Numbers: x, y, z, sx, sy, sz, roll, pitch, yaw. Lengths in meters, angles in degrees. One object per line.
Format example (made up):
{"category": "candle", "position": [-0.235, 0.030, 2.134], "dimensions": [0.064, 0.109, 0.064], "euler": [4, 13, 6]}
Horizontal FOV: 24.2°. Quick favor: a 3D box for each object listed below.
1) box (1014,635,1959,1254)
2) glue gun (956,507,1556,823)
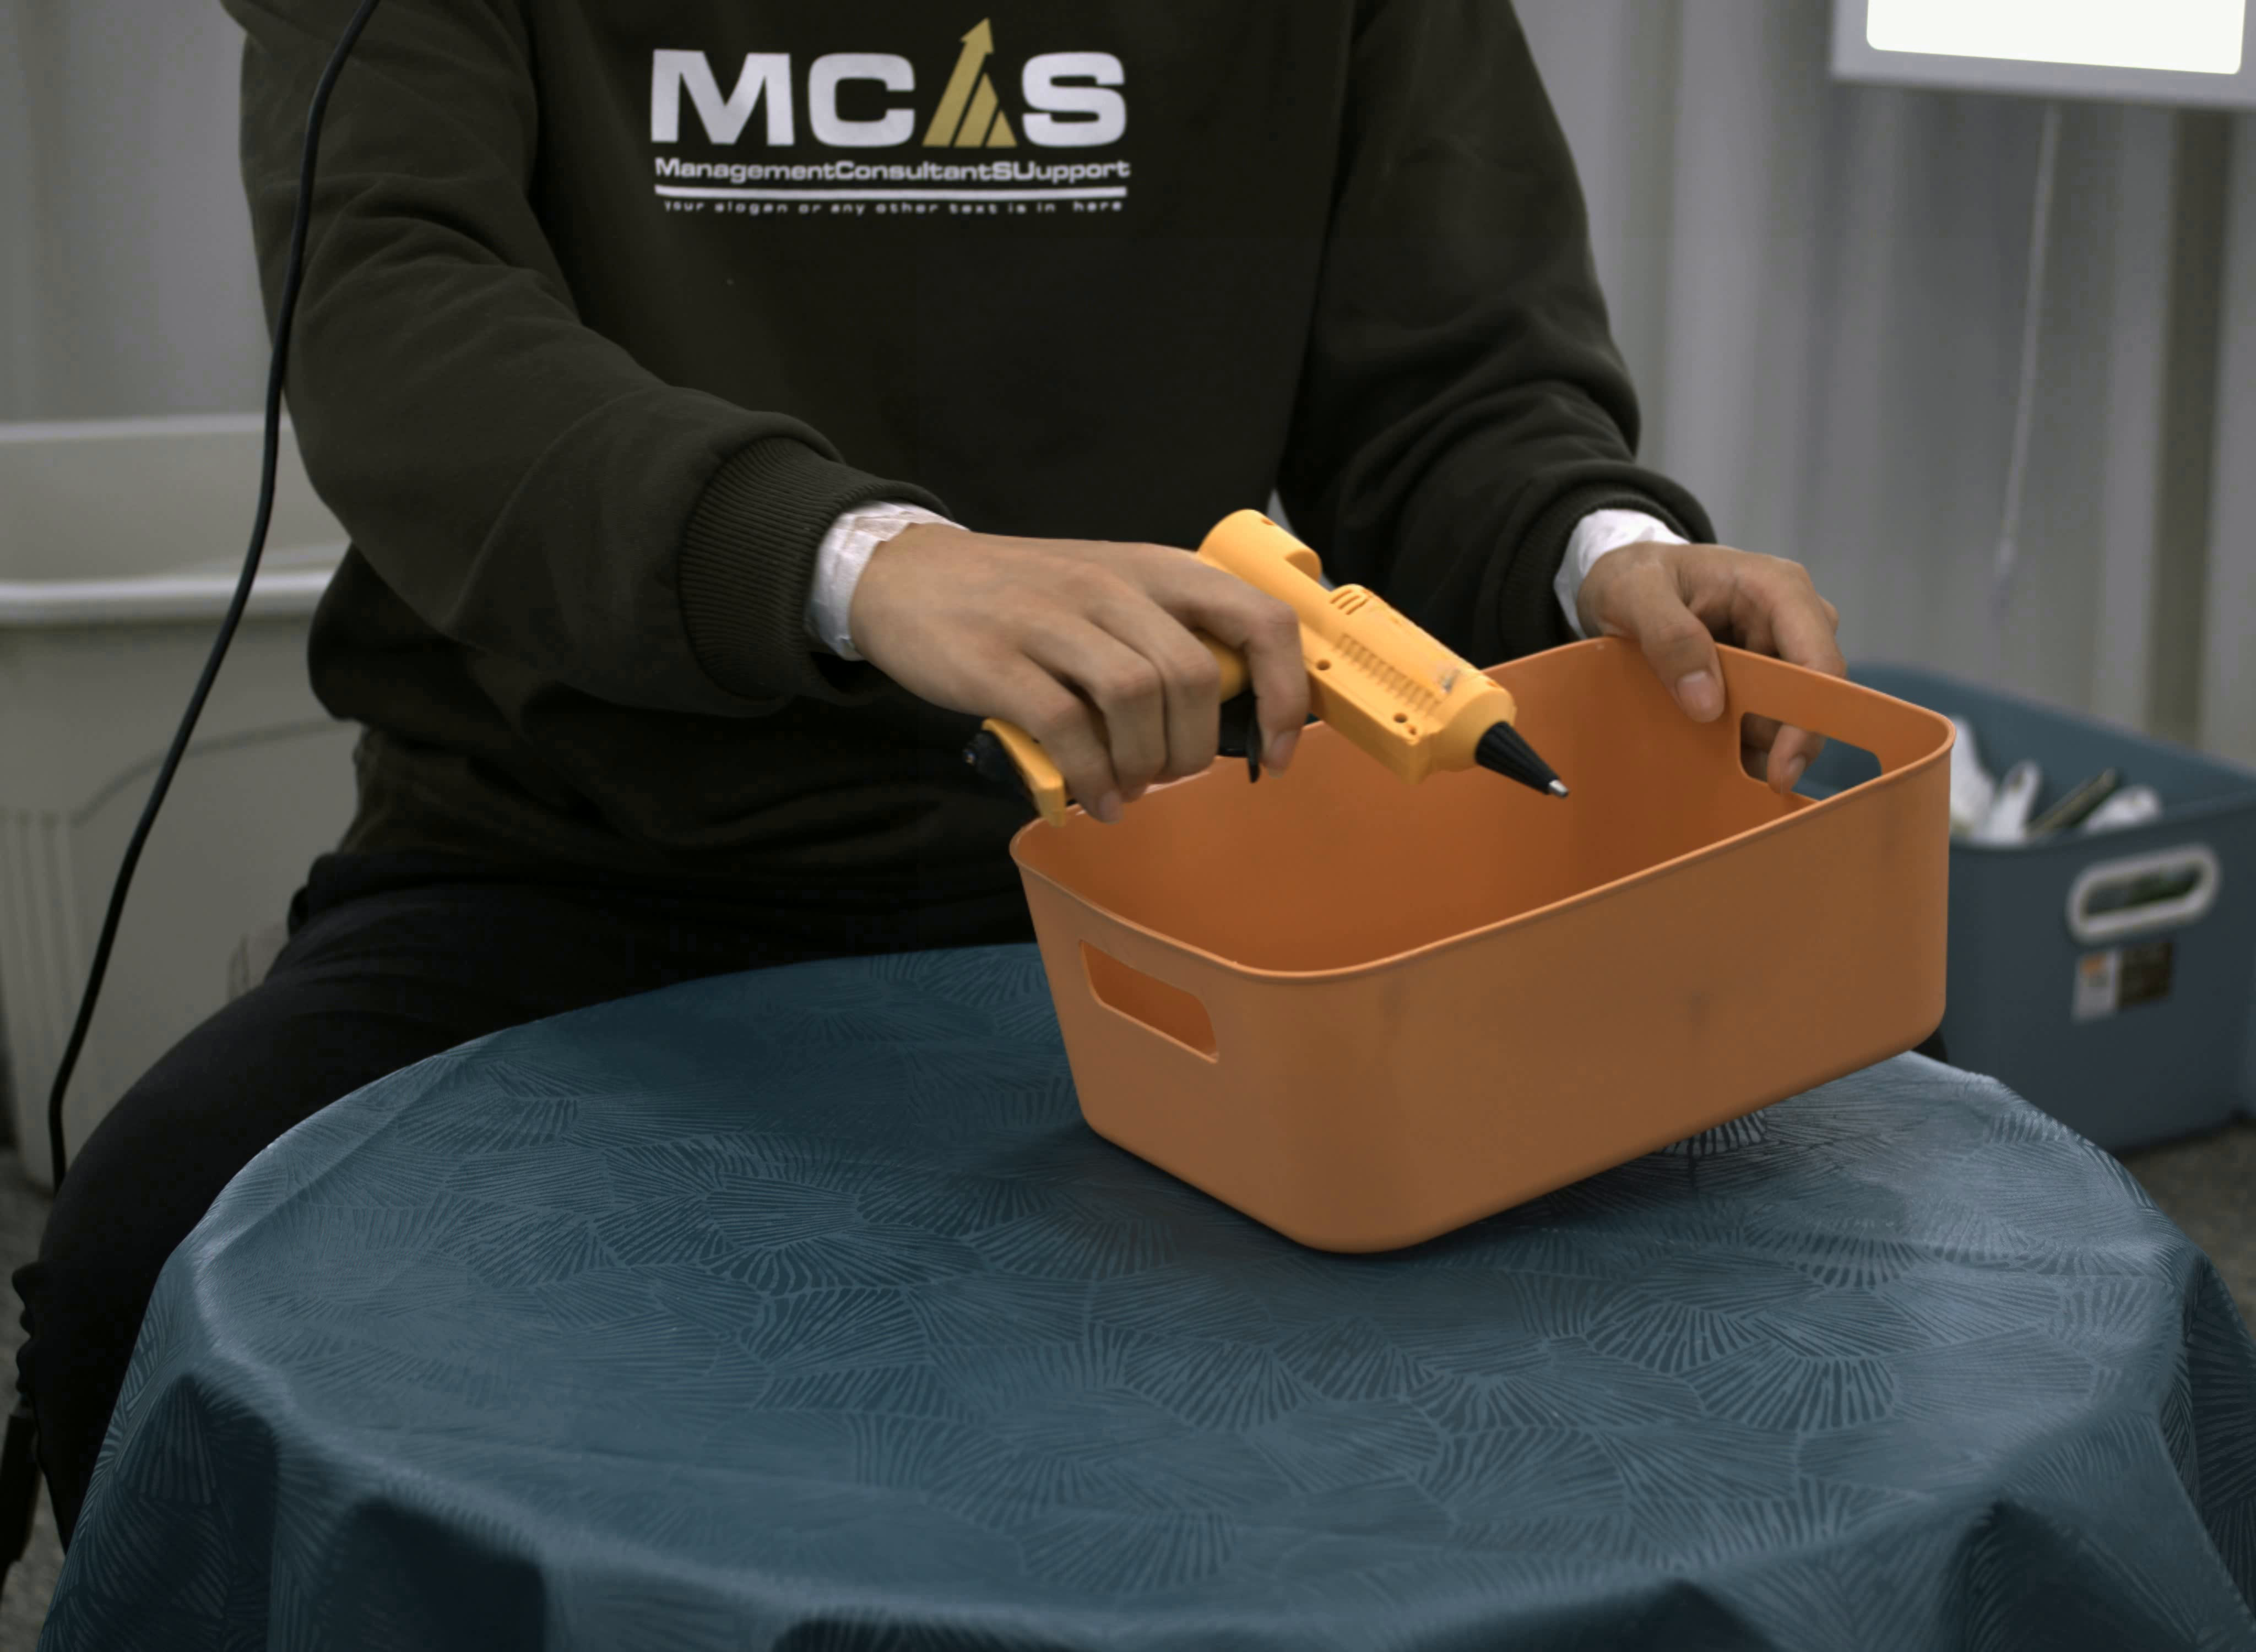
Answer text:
{"category": "box", "position": [0.118, 0.035, 1.666], "dimensions": [0.274, 0.103, 0.197], "euler": [-19, 23, -28]}
{"category": "glue gun", "position": [0.046, -0.024, 1.582], "dimensions": [0.149, 0.031, 0.133], "euler": [33, 57, 28]}
